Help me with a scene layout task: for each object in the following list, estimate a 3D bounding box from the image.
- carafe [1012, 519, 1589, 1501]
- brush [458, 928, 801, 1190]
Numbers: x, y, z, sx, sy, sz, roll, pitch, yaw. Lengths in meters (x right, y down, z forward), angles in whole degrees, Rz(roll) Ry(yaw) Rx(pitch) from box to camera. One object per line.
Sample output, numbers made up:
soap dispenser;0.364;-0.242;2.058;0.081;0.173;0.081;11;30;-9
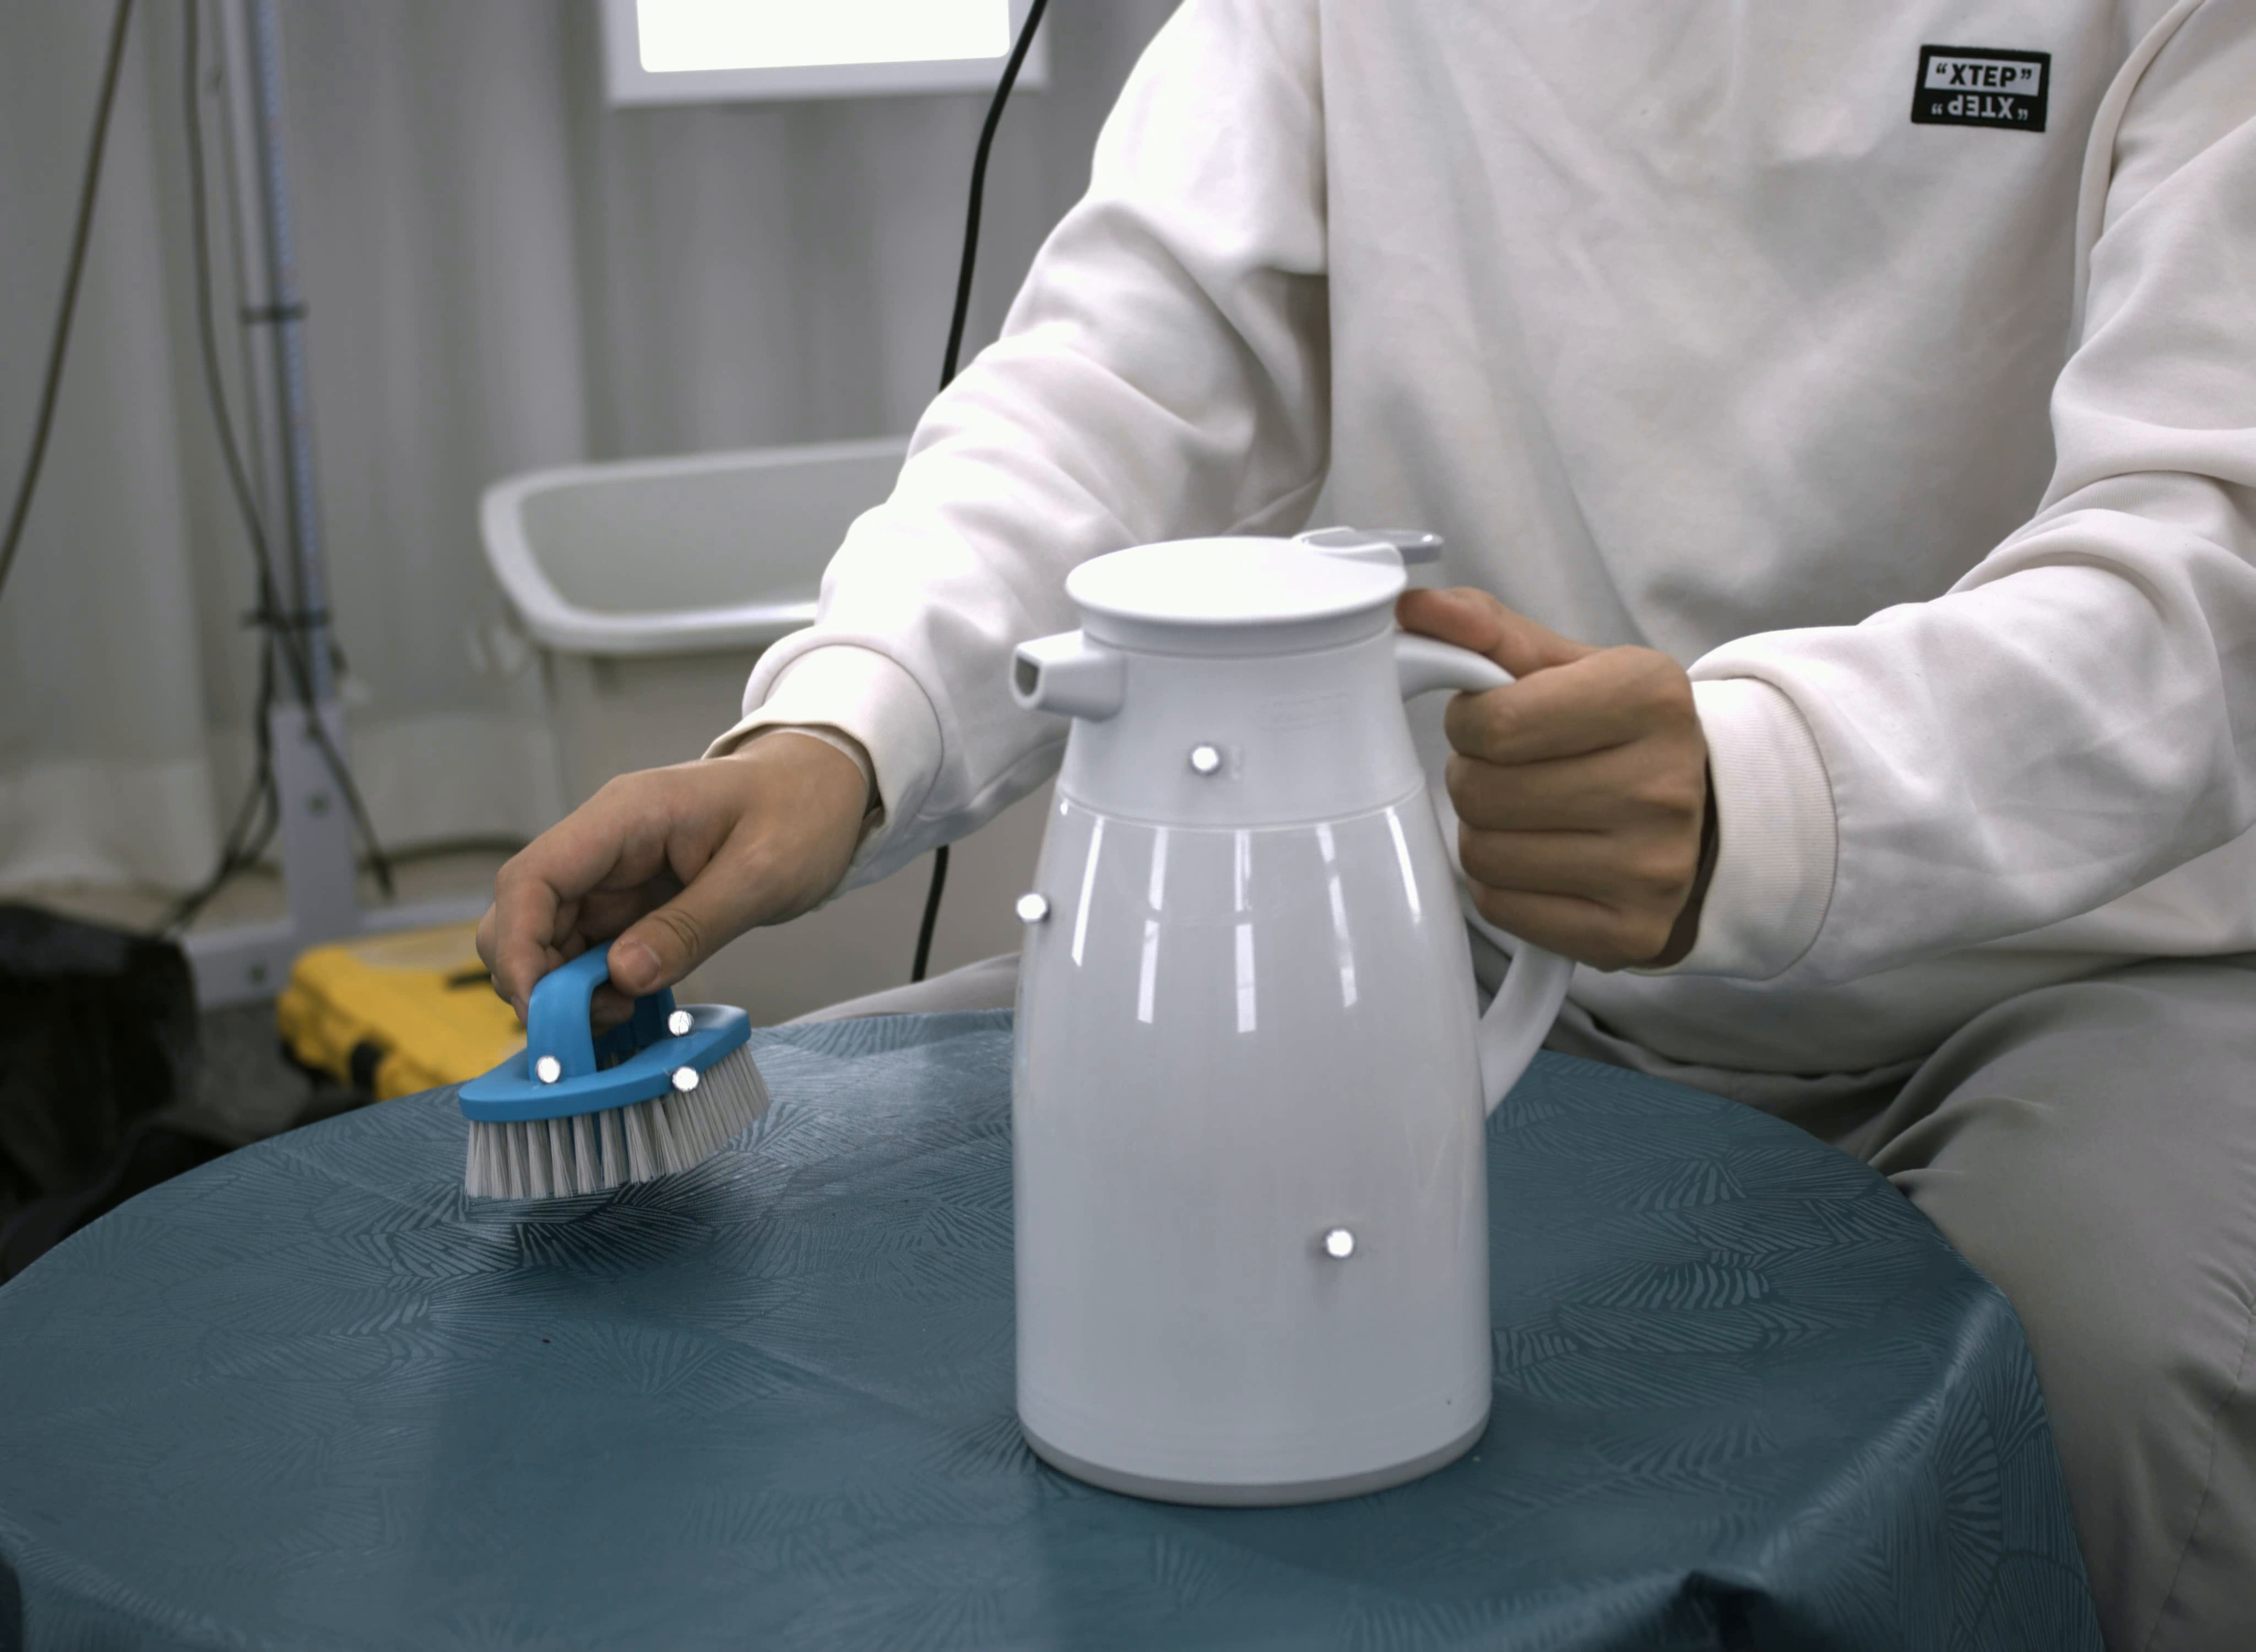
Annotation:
carafe;0.049;0.041;1.497;0.167;0.247;0.133;-8;16;-25
brush;-0.160;0.068;1.719;0.084;0.064;0.142;-11;6;18
